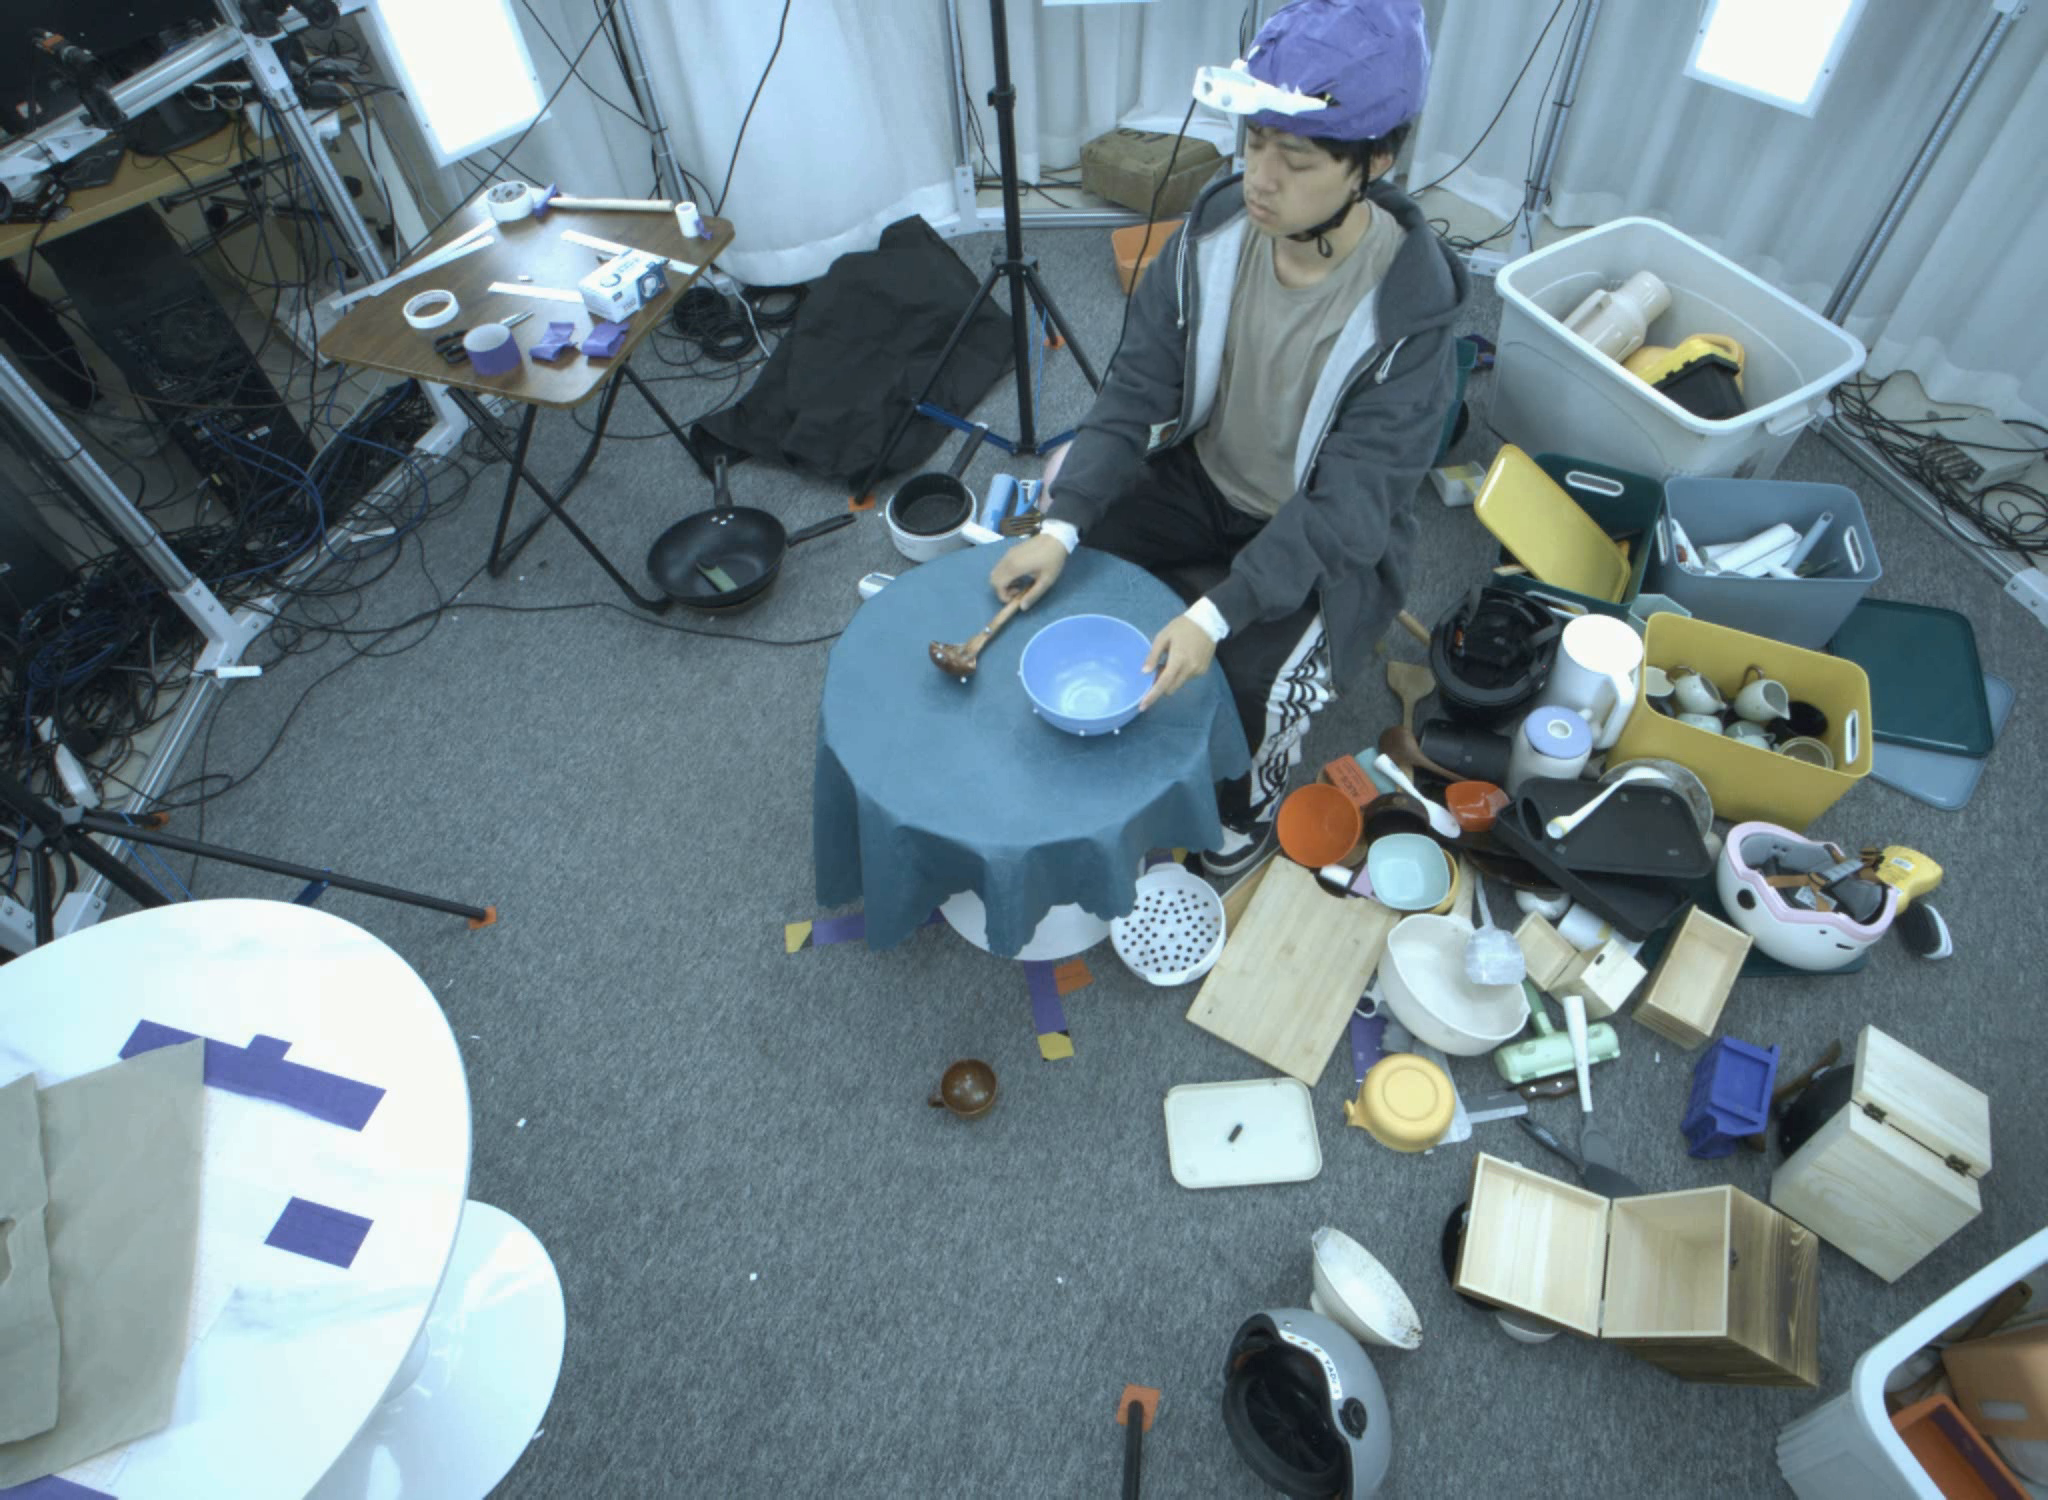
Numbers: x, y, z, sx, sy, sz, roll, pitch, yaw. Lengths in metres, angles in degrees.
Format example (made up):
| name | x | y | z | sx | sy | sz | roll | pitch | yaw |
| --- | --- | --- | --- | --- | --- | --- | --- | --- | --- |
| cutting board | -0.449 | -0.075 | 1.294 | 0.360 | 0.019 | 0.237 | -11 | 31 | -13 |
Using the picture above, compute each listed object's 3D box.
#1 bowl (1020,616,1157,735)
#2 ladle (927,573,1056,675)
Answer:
| name | x | y | z | sx | sy | sz | roll | pitch | yaw |
| --- | --- | --- | --- | --- | --- | --- | --- | --- | --- |
| bowl | 0.094 | -0.094 | 1.795 | 0.196 | 0.096 | 0.194 | 0 | 53 | 2 |
| ladle | -0.043 | -0.210 | 1.892 | 0.081 | 0.077 | 0.275 | 38 | 63 | 13 |
